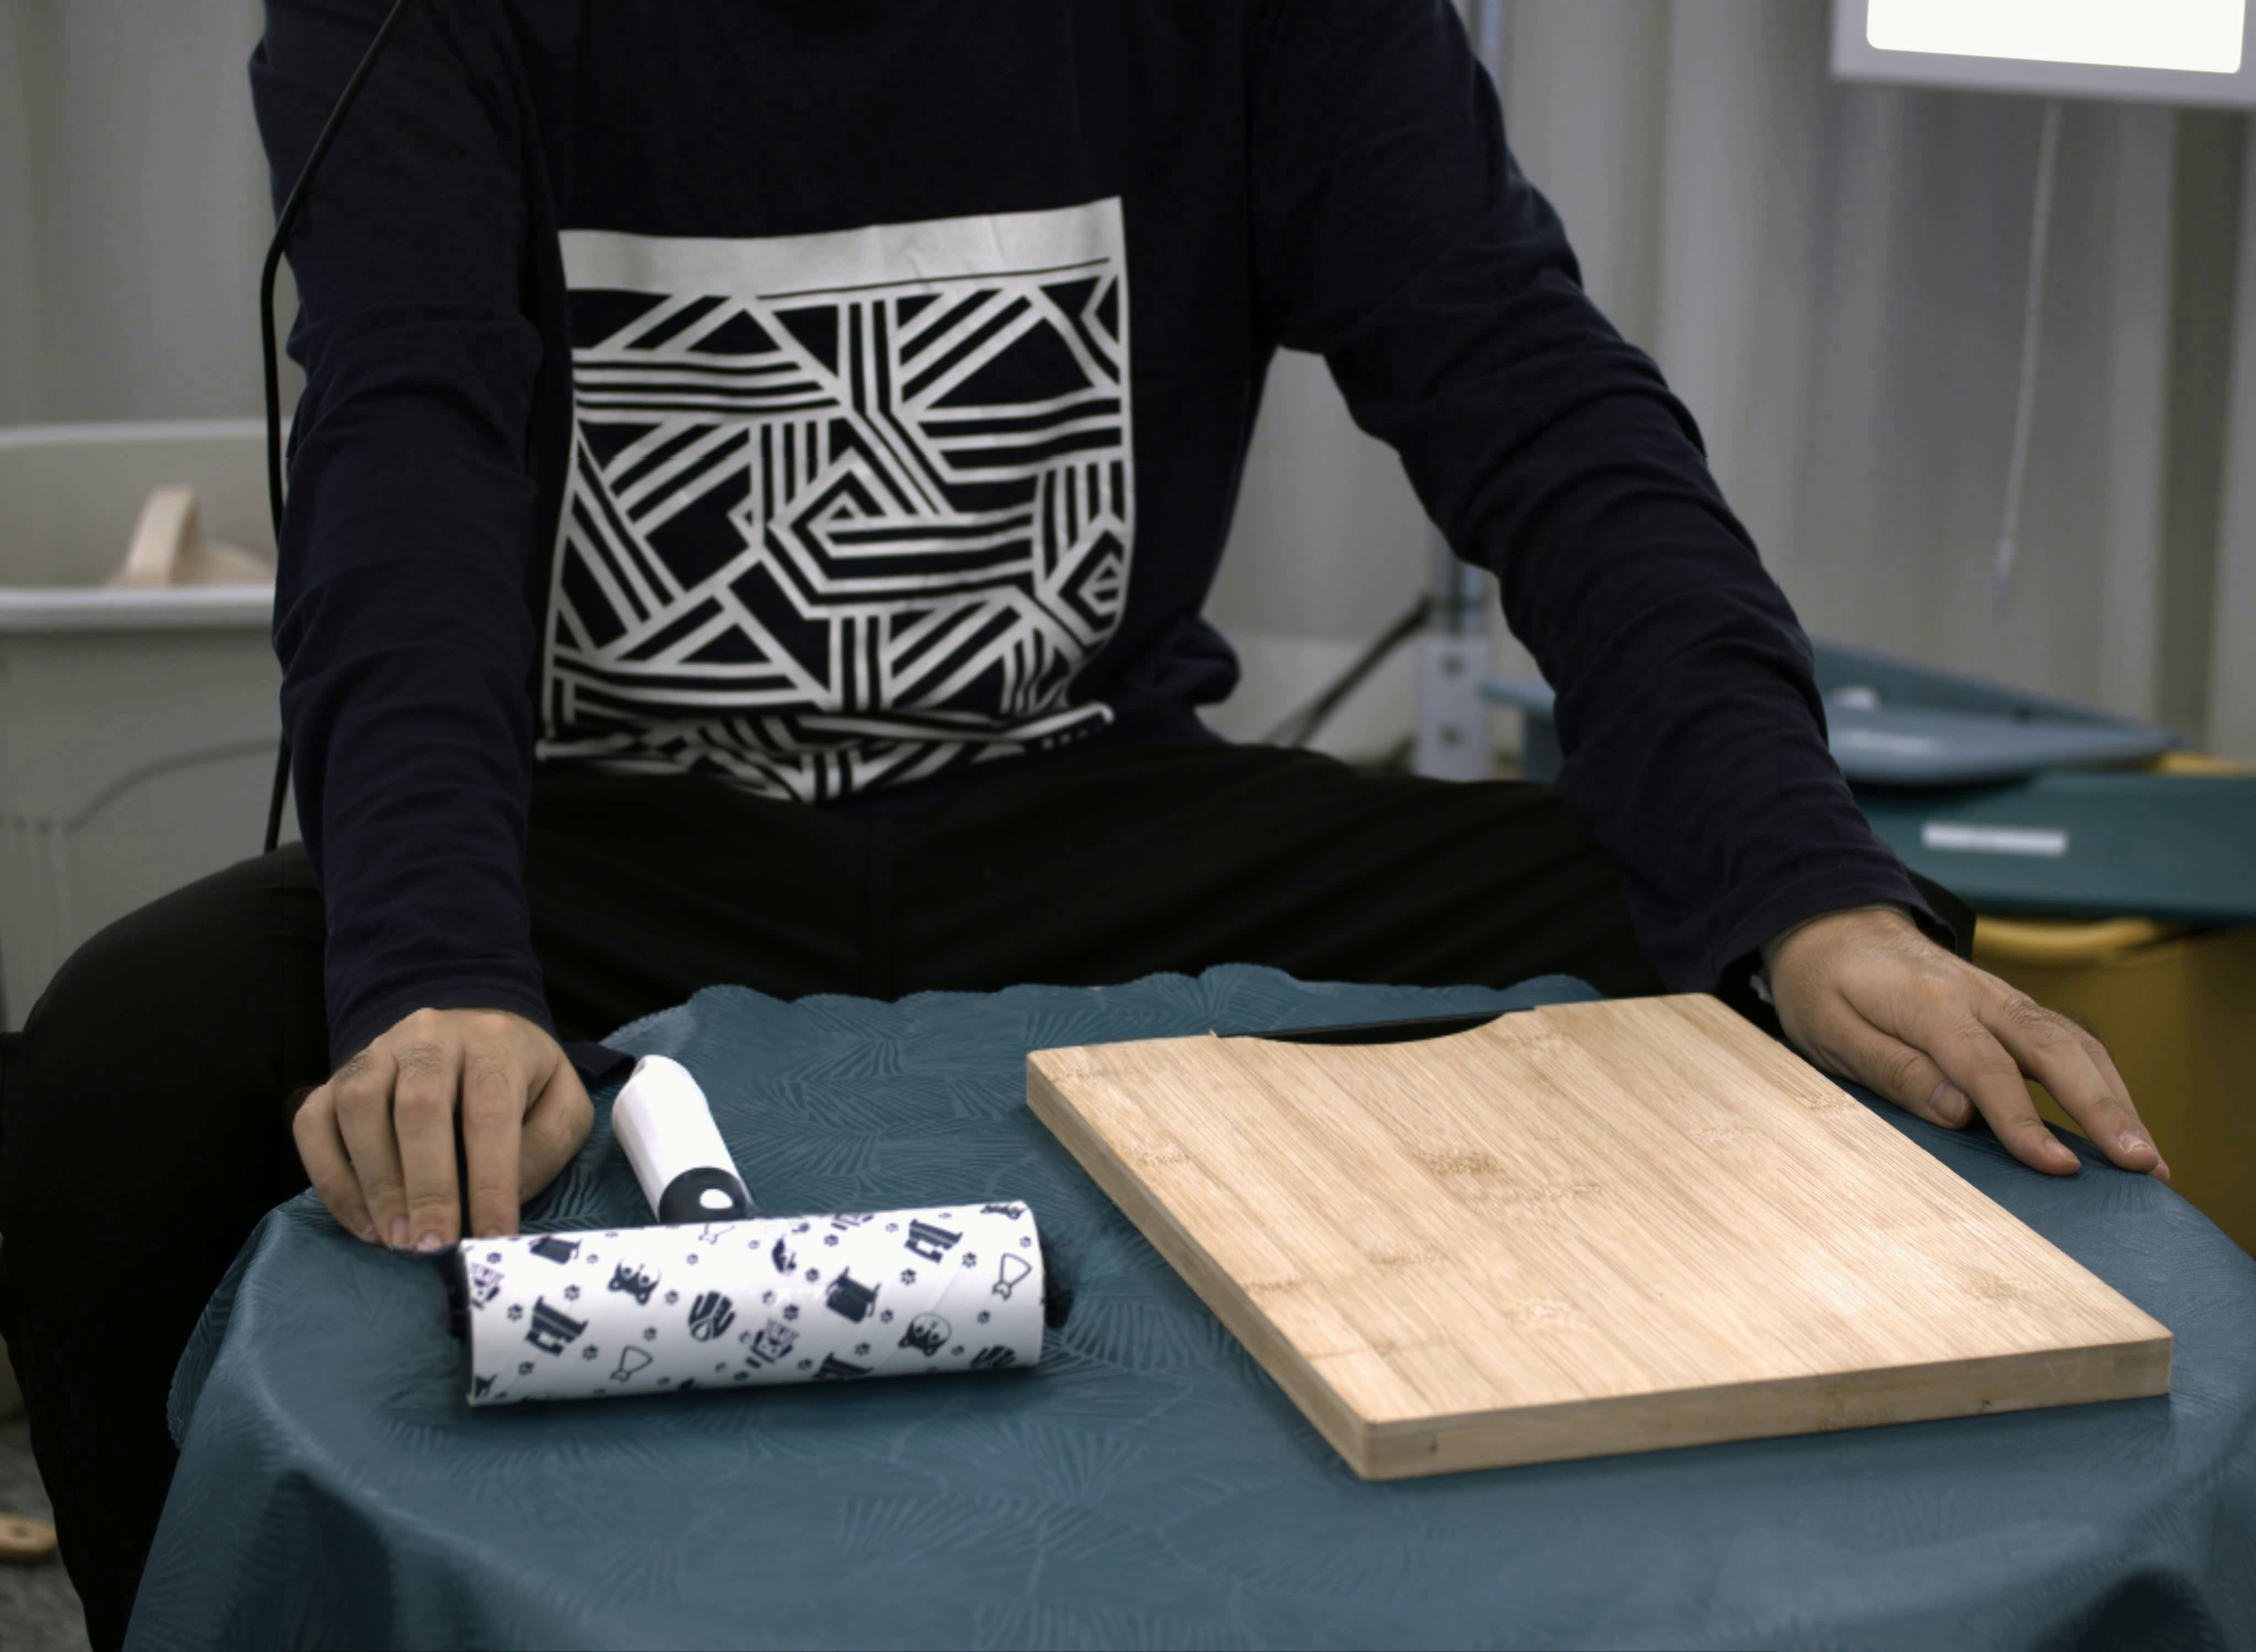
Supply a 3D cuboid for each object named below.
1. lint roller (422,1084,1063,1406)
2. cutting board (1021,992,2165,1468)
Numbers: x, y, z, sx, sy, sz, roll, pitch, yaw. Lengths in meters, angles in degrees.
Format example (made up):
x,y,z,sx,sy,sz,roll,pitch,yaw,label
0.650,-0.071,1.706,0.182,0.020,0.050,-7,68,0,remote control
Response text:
x,y,z,sx,sy,sz,roll,pitch,yaw,label
-0.129,0.109,1.554,0.176,0.051,0.245,-4,14,-12,lint roller
0.127,0.115,1.590,0.251,0.024,0.345,-4,16,-17,cutting board
